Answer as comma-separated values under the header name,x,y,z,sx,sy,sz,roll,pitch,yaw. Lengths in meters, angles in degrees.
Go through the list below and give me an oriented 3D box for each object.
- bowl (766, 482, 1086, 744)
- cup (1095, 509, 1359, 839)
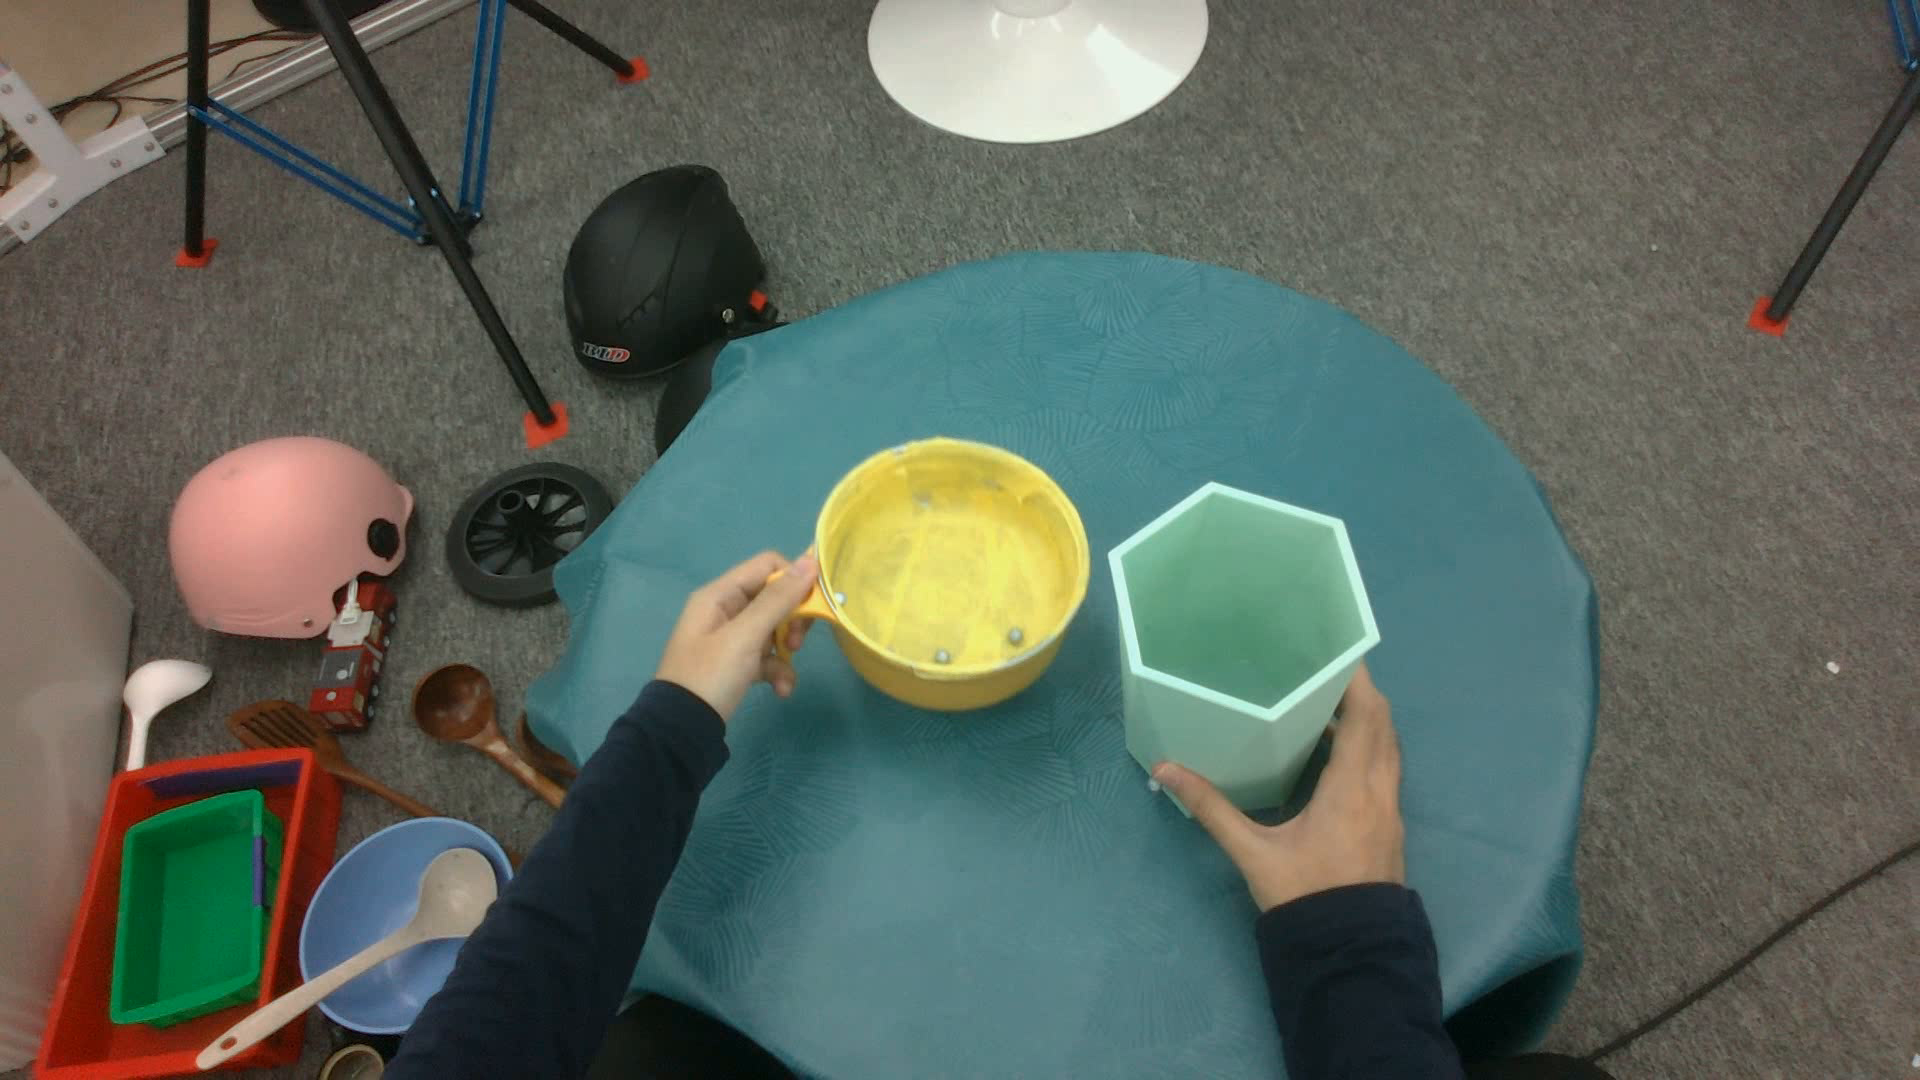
name,x,y,z,sx,sy,sz,roll,pitch,yaw
bowl,-0.021,0.047,0.793,0.179,0.074,0.153,-14,58,-16
cup,0.135,0.080,0.724,0.131,0.162,0.115,15,60,17
